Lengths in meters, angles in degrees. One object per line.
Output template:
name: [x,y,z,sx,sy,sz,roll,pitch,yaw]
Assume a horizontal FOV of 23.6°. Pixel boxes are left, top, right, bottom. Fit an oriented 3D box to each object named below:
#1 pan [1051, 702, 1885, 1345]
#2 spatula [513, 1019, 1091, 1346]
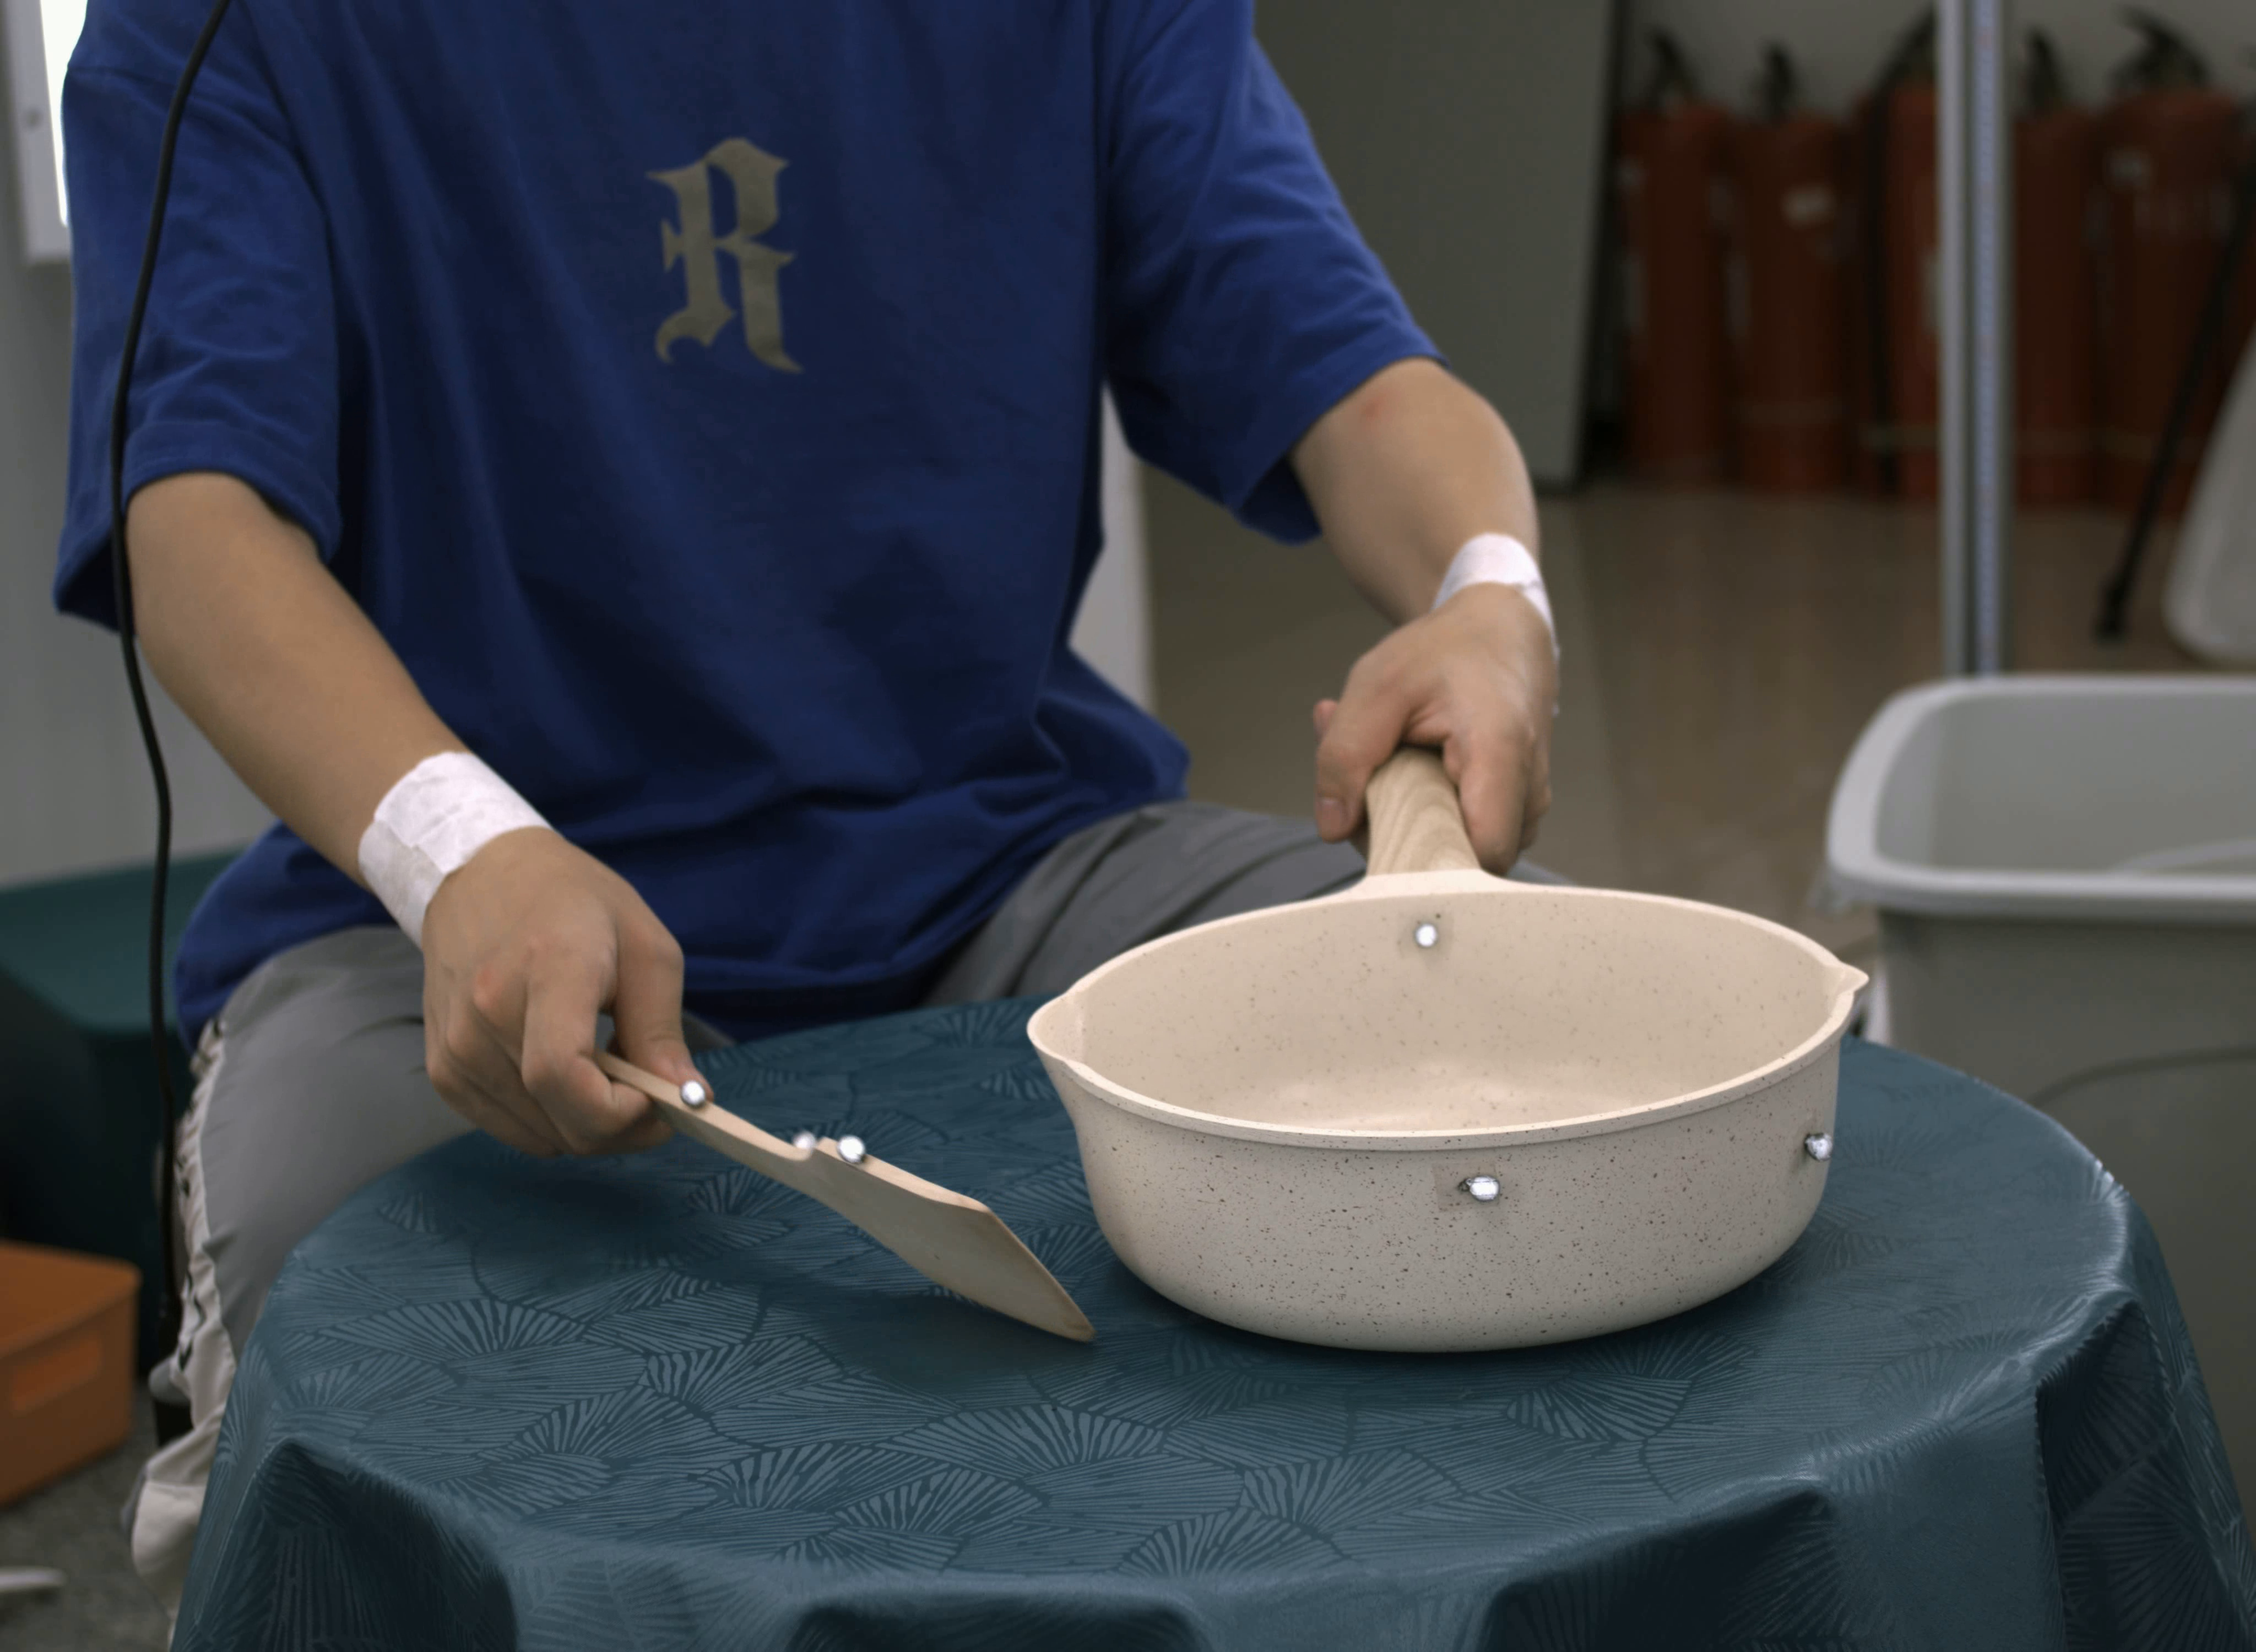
pan: [0.106,0.060,1.762,0.260,0.103,0.436,-6,15,0]
spatula: [-0.116,0.104,1.718,0.010,0.071,0.296,-50,36,-16]
